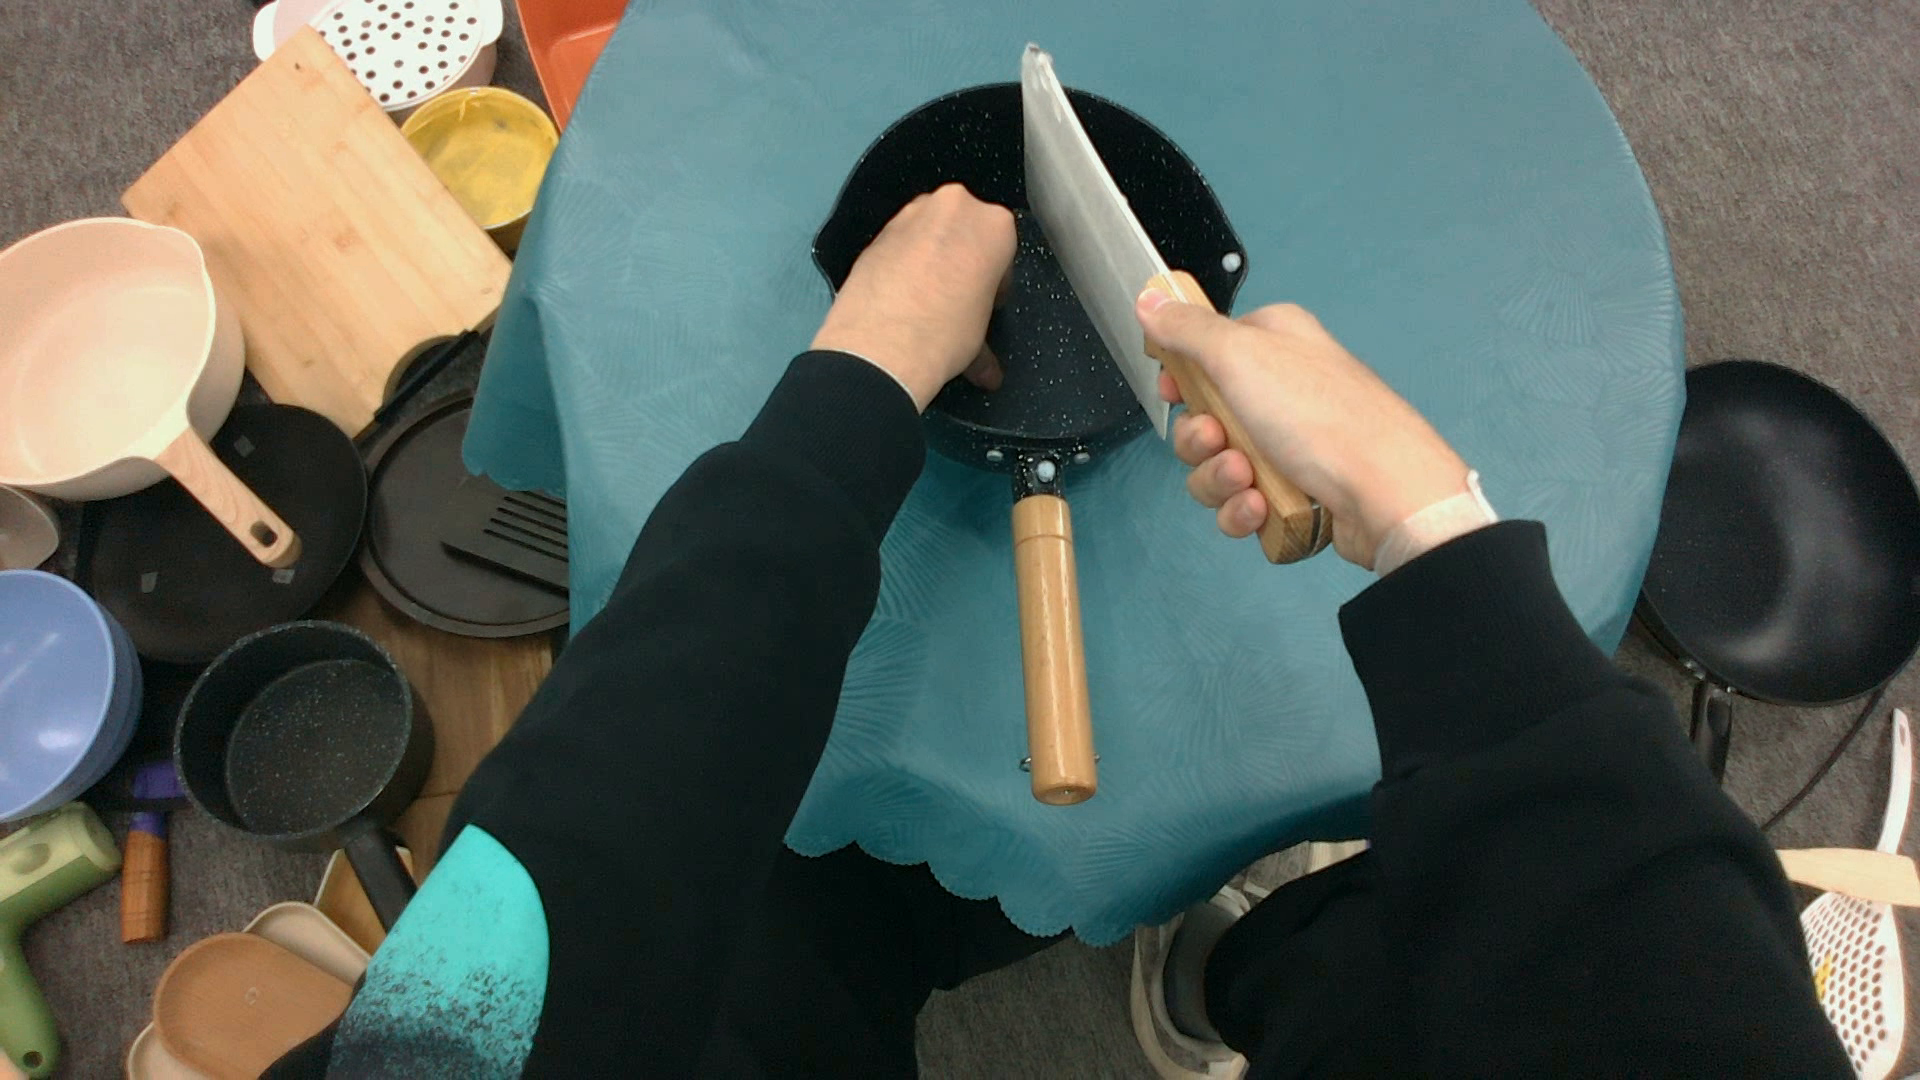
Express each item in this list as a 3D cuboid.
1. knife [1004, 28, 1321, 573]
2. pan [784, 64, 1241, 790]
[{"bbox_3d":[0.066,-0.104,0.567,0.022,0.113,0.316,-16,46,-8],"label":"knife"},{"bbox_3d":[0.027,-0.052,0.623,0.207,0.108,0.344,-1,70,-7],"label":"pan"}]
